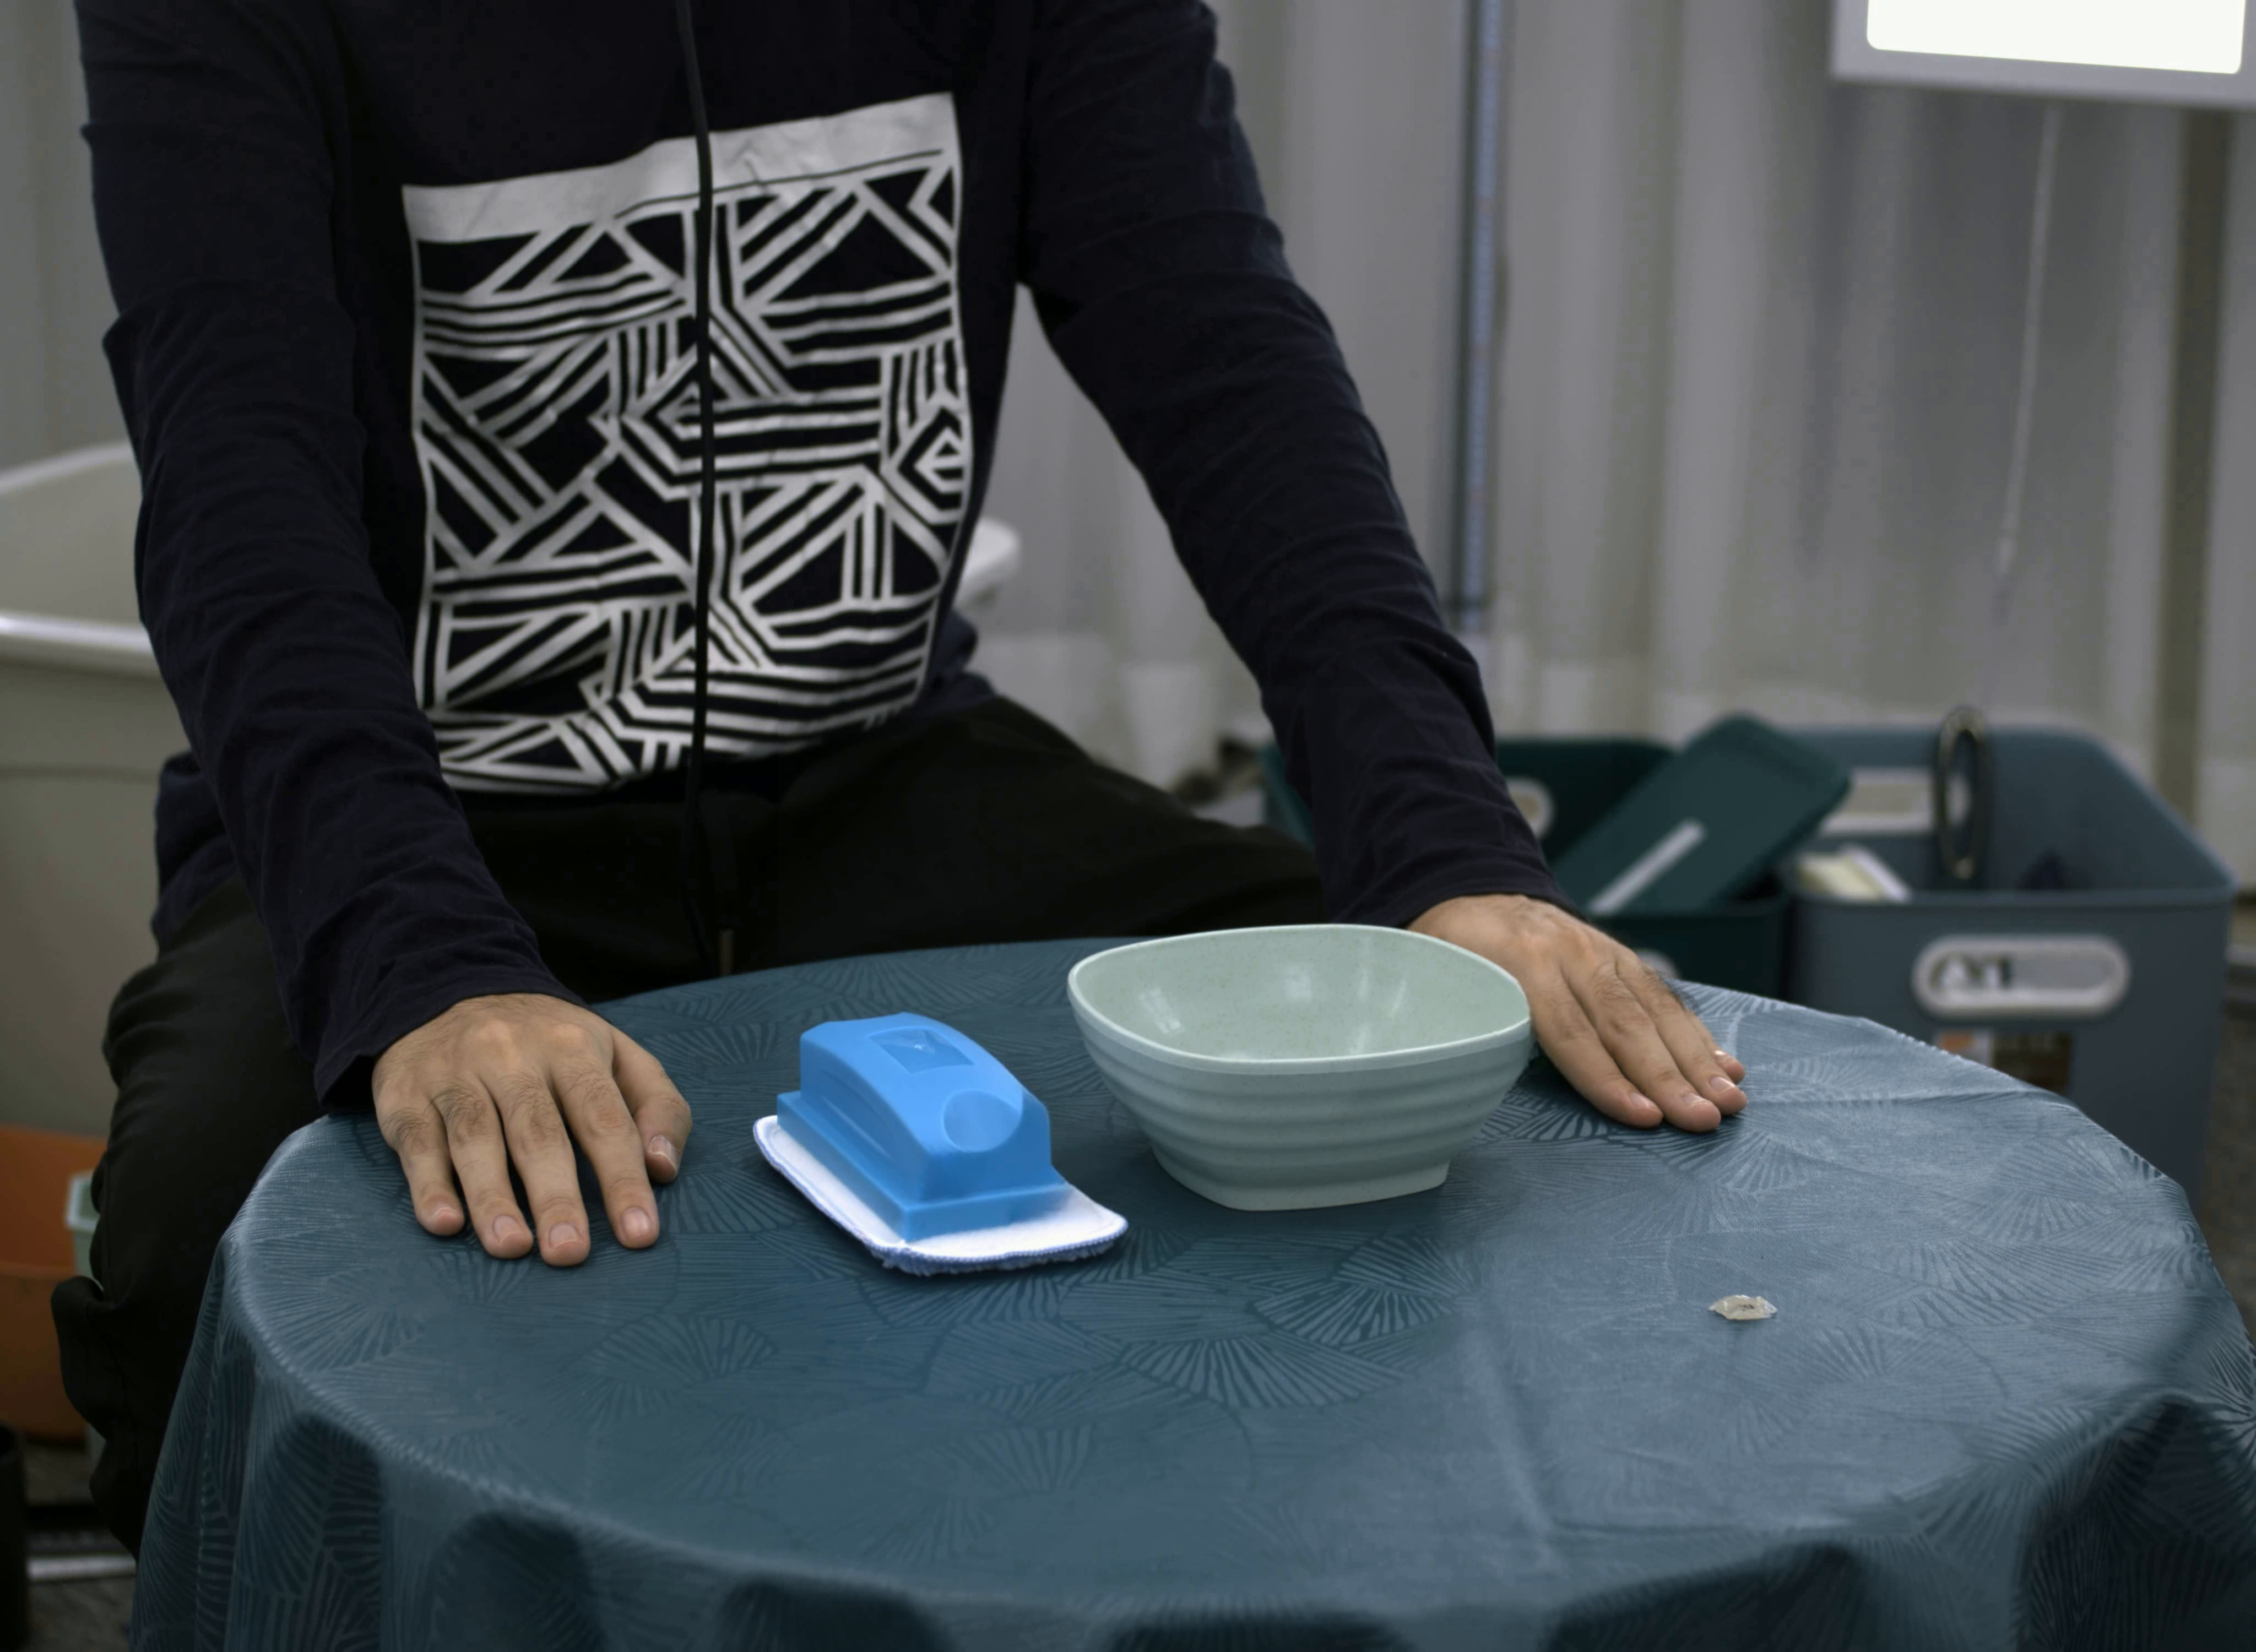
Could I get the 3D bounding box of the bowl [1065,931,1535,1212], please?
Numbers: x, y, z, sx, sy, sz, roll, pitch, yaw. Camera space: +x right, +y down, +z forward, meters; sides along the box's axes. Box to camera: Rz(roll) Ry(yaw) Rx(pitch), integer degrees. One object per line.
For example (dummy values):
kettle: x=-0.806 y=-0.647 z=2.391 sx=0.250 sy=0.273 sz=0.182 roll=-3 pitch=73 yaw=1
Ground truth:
bowl: x=0.052 y=0.079 z=1.645 sx=0.151 sy=0.059 sz=0.150 roll=3 pitch=15 yaw=0

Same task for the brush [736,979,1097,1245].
brush: x=-0.064 y=0.085 z=1.608 sx=0.084 sy=0.056 sz=0.142 roll=-2 pitch=17 yaw=-21
